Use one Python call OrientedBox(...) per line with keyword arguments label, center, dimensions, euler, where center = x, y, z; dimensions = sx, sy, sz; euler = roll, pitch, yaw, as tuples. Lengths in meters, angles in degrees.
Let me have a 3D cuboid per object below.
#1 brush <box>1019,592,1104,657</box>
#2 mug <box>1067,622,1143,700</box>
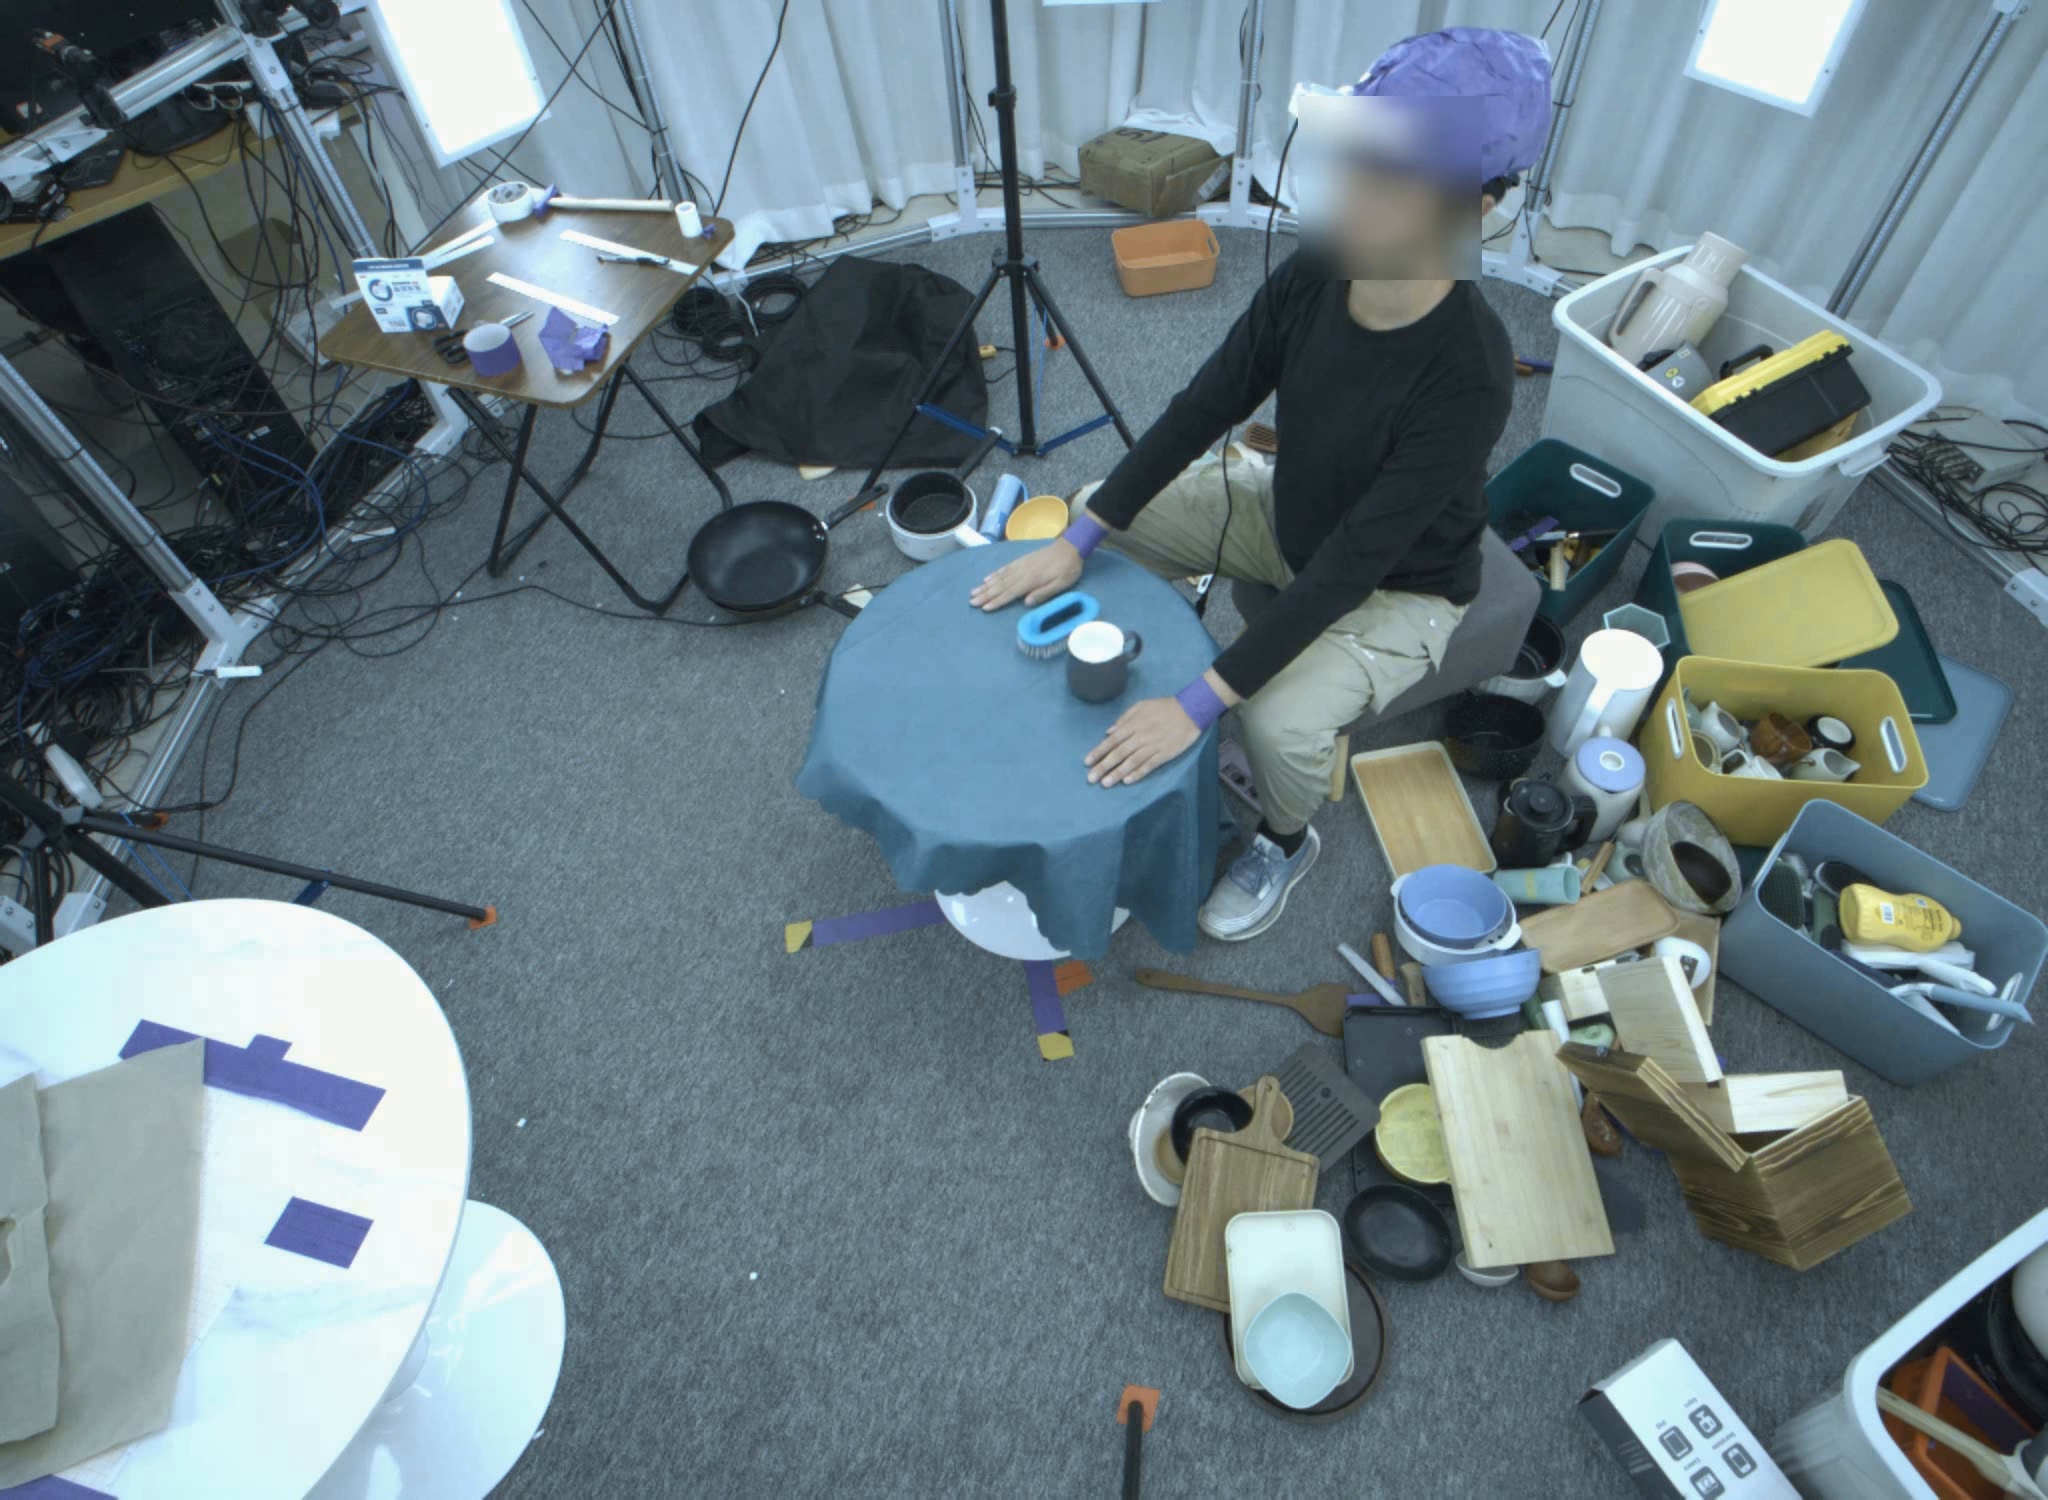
OrientedBox(label="brush", center=(0.055, -0.204, 1.892), dimensions=(0.143, 0.064, 0.082), euler=(-28, 53, -18))
OrientedBox(label="mug", center=(0.121, -0.138, 1.825), dimensions=(0.124, 0.091, 0.092), euler=(-25, 58, -13))
